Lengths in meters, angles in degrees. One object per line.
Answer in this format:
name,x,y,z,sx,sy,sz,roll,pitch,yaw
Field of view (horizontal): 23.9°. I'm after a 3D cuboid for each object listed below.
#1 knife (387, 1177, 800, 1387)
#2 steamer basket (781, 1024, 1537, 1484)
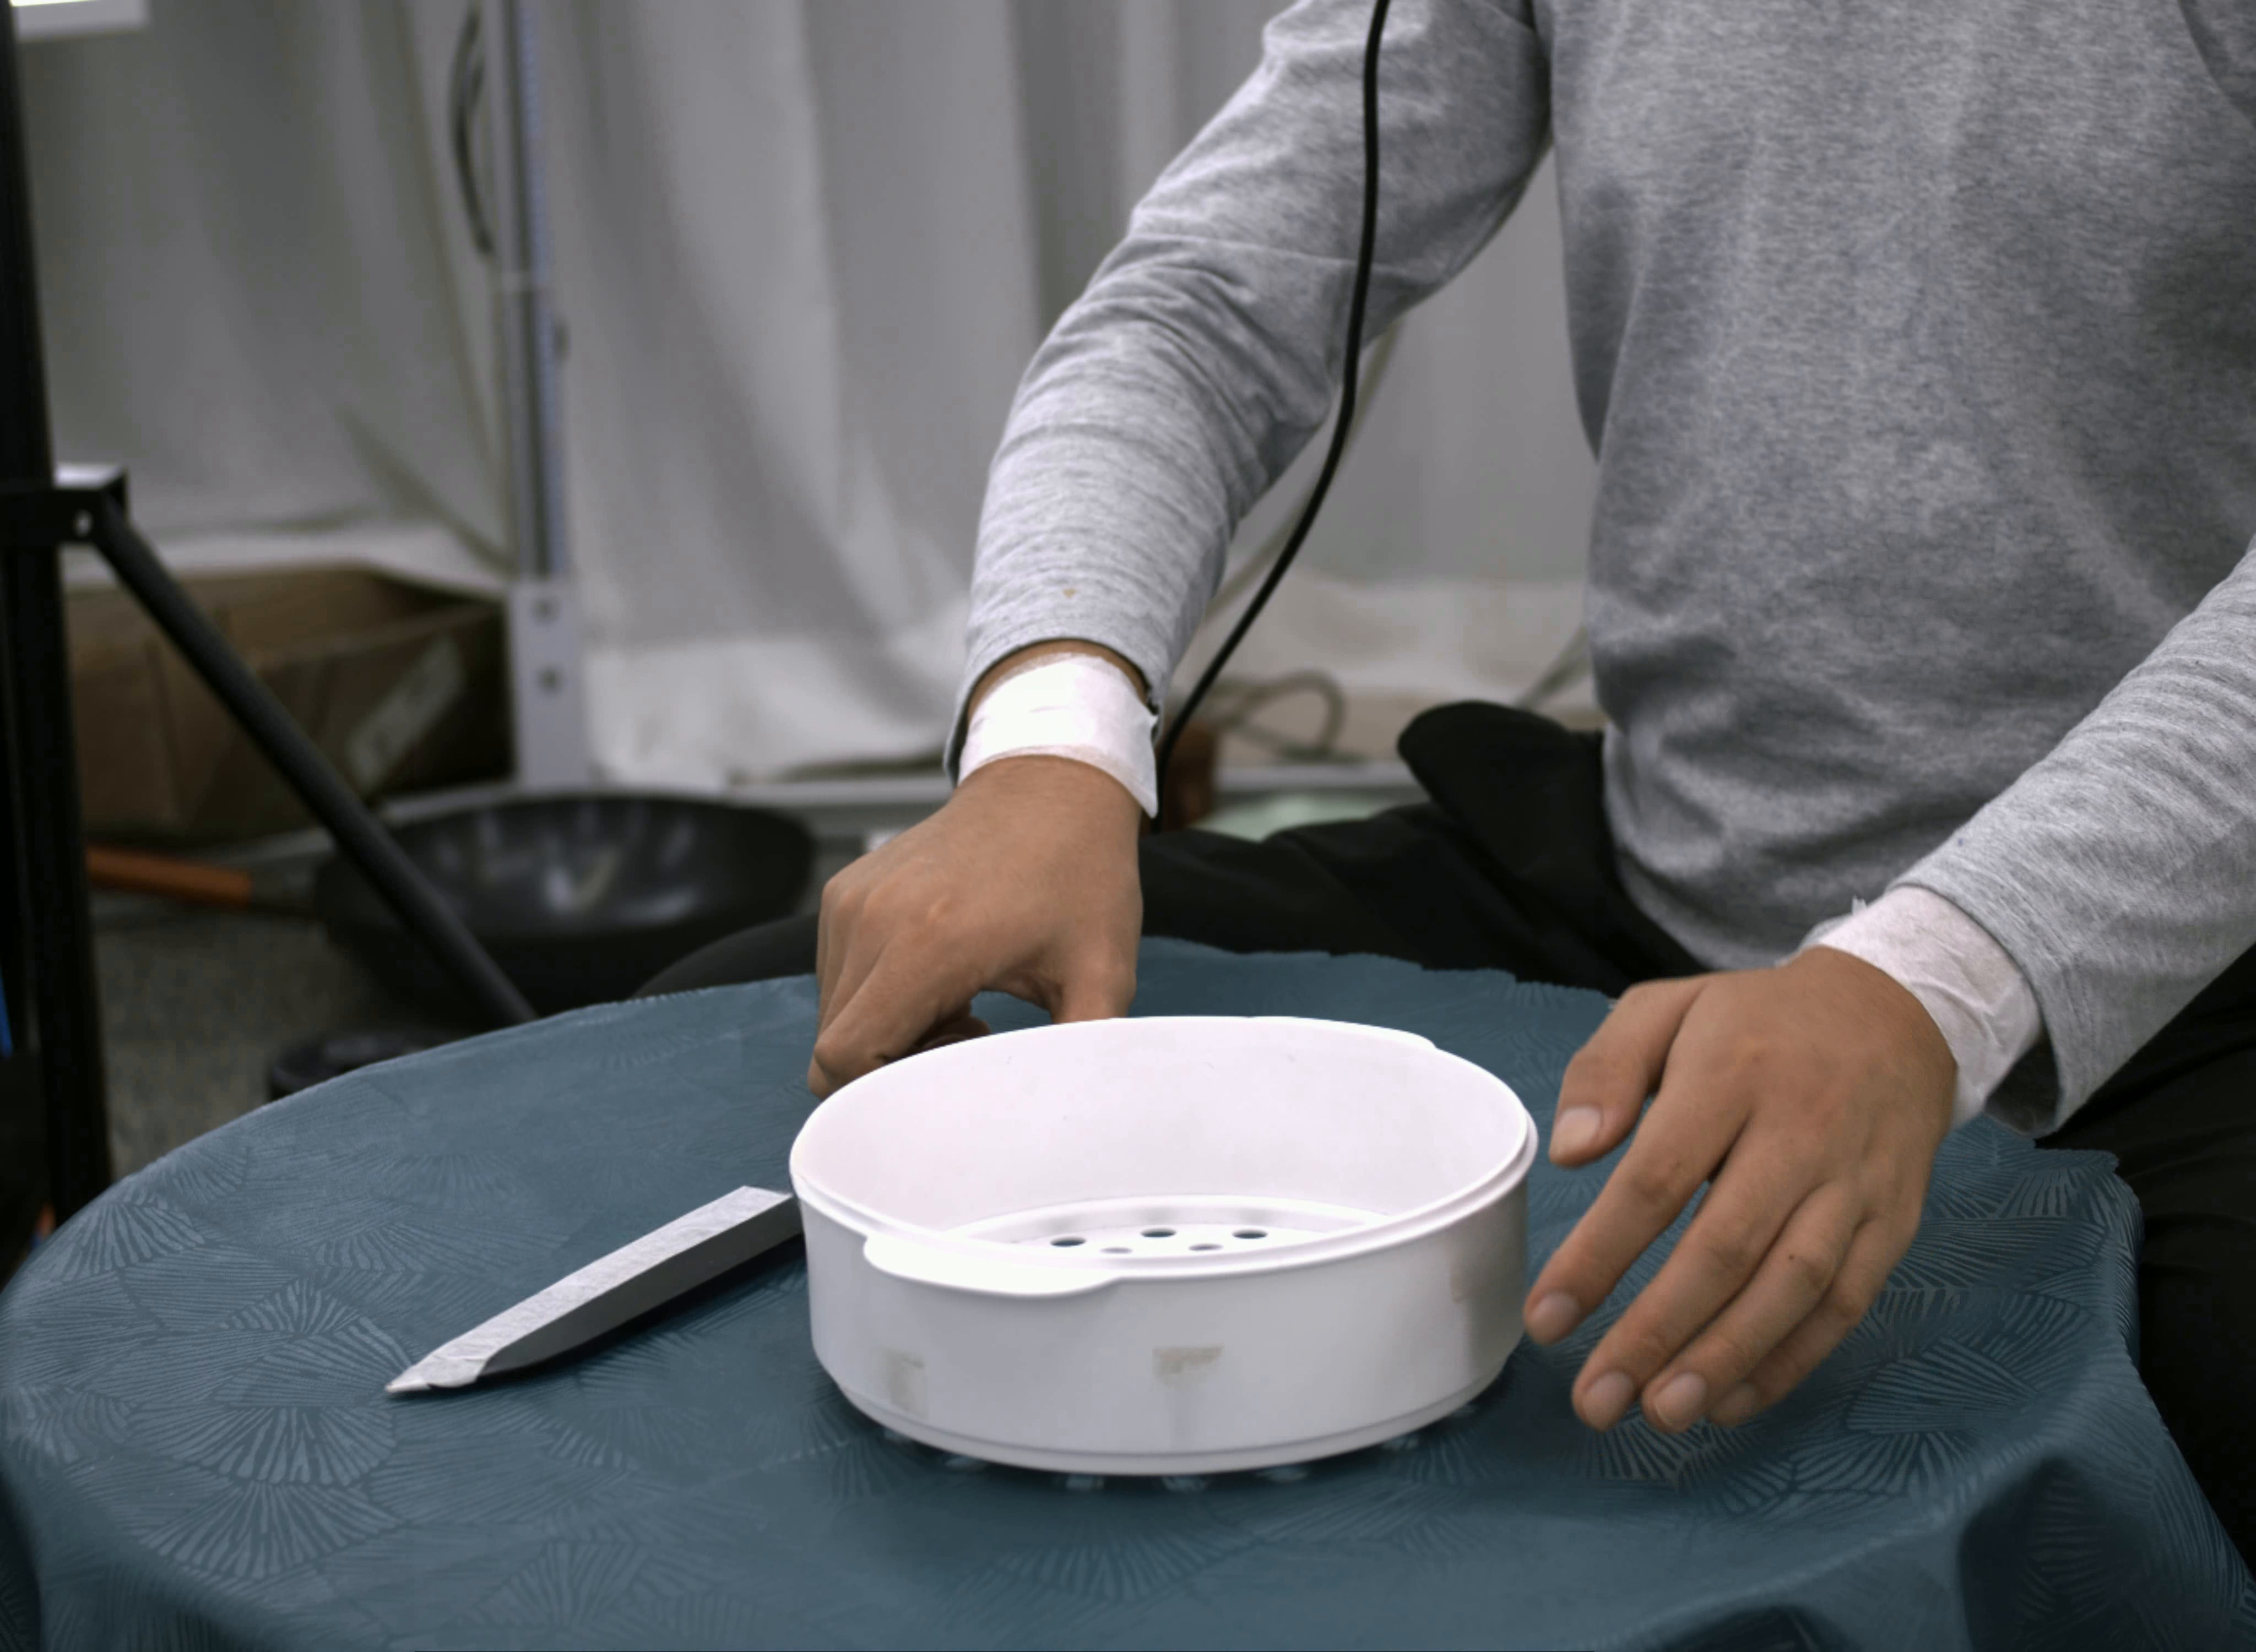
knife,-0.106,0.114,1.531,0.051,0.020,0.283,3,17,40
steamer basket,0.009,0.114,1.418,0.205,0.069,0.226,7,17,29
